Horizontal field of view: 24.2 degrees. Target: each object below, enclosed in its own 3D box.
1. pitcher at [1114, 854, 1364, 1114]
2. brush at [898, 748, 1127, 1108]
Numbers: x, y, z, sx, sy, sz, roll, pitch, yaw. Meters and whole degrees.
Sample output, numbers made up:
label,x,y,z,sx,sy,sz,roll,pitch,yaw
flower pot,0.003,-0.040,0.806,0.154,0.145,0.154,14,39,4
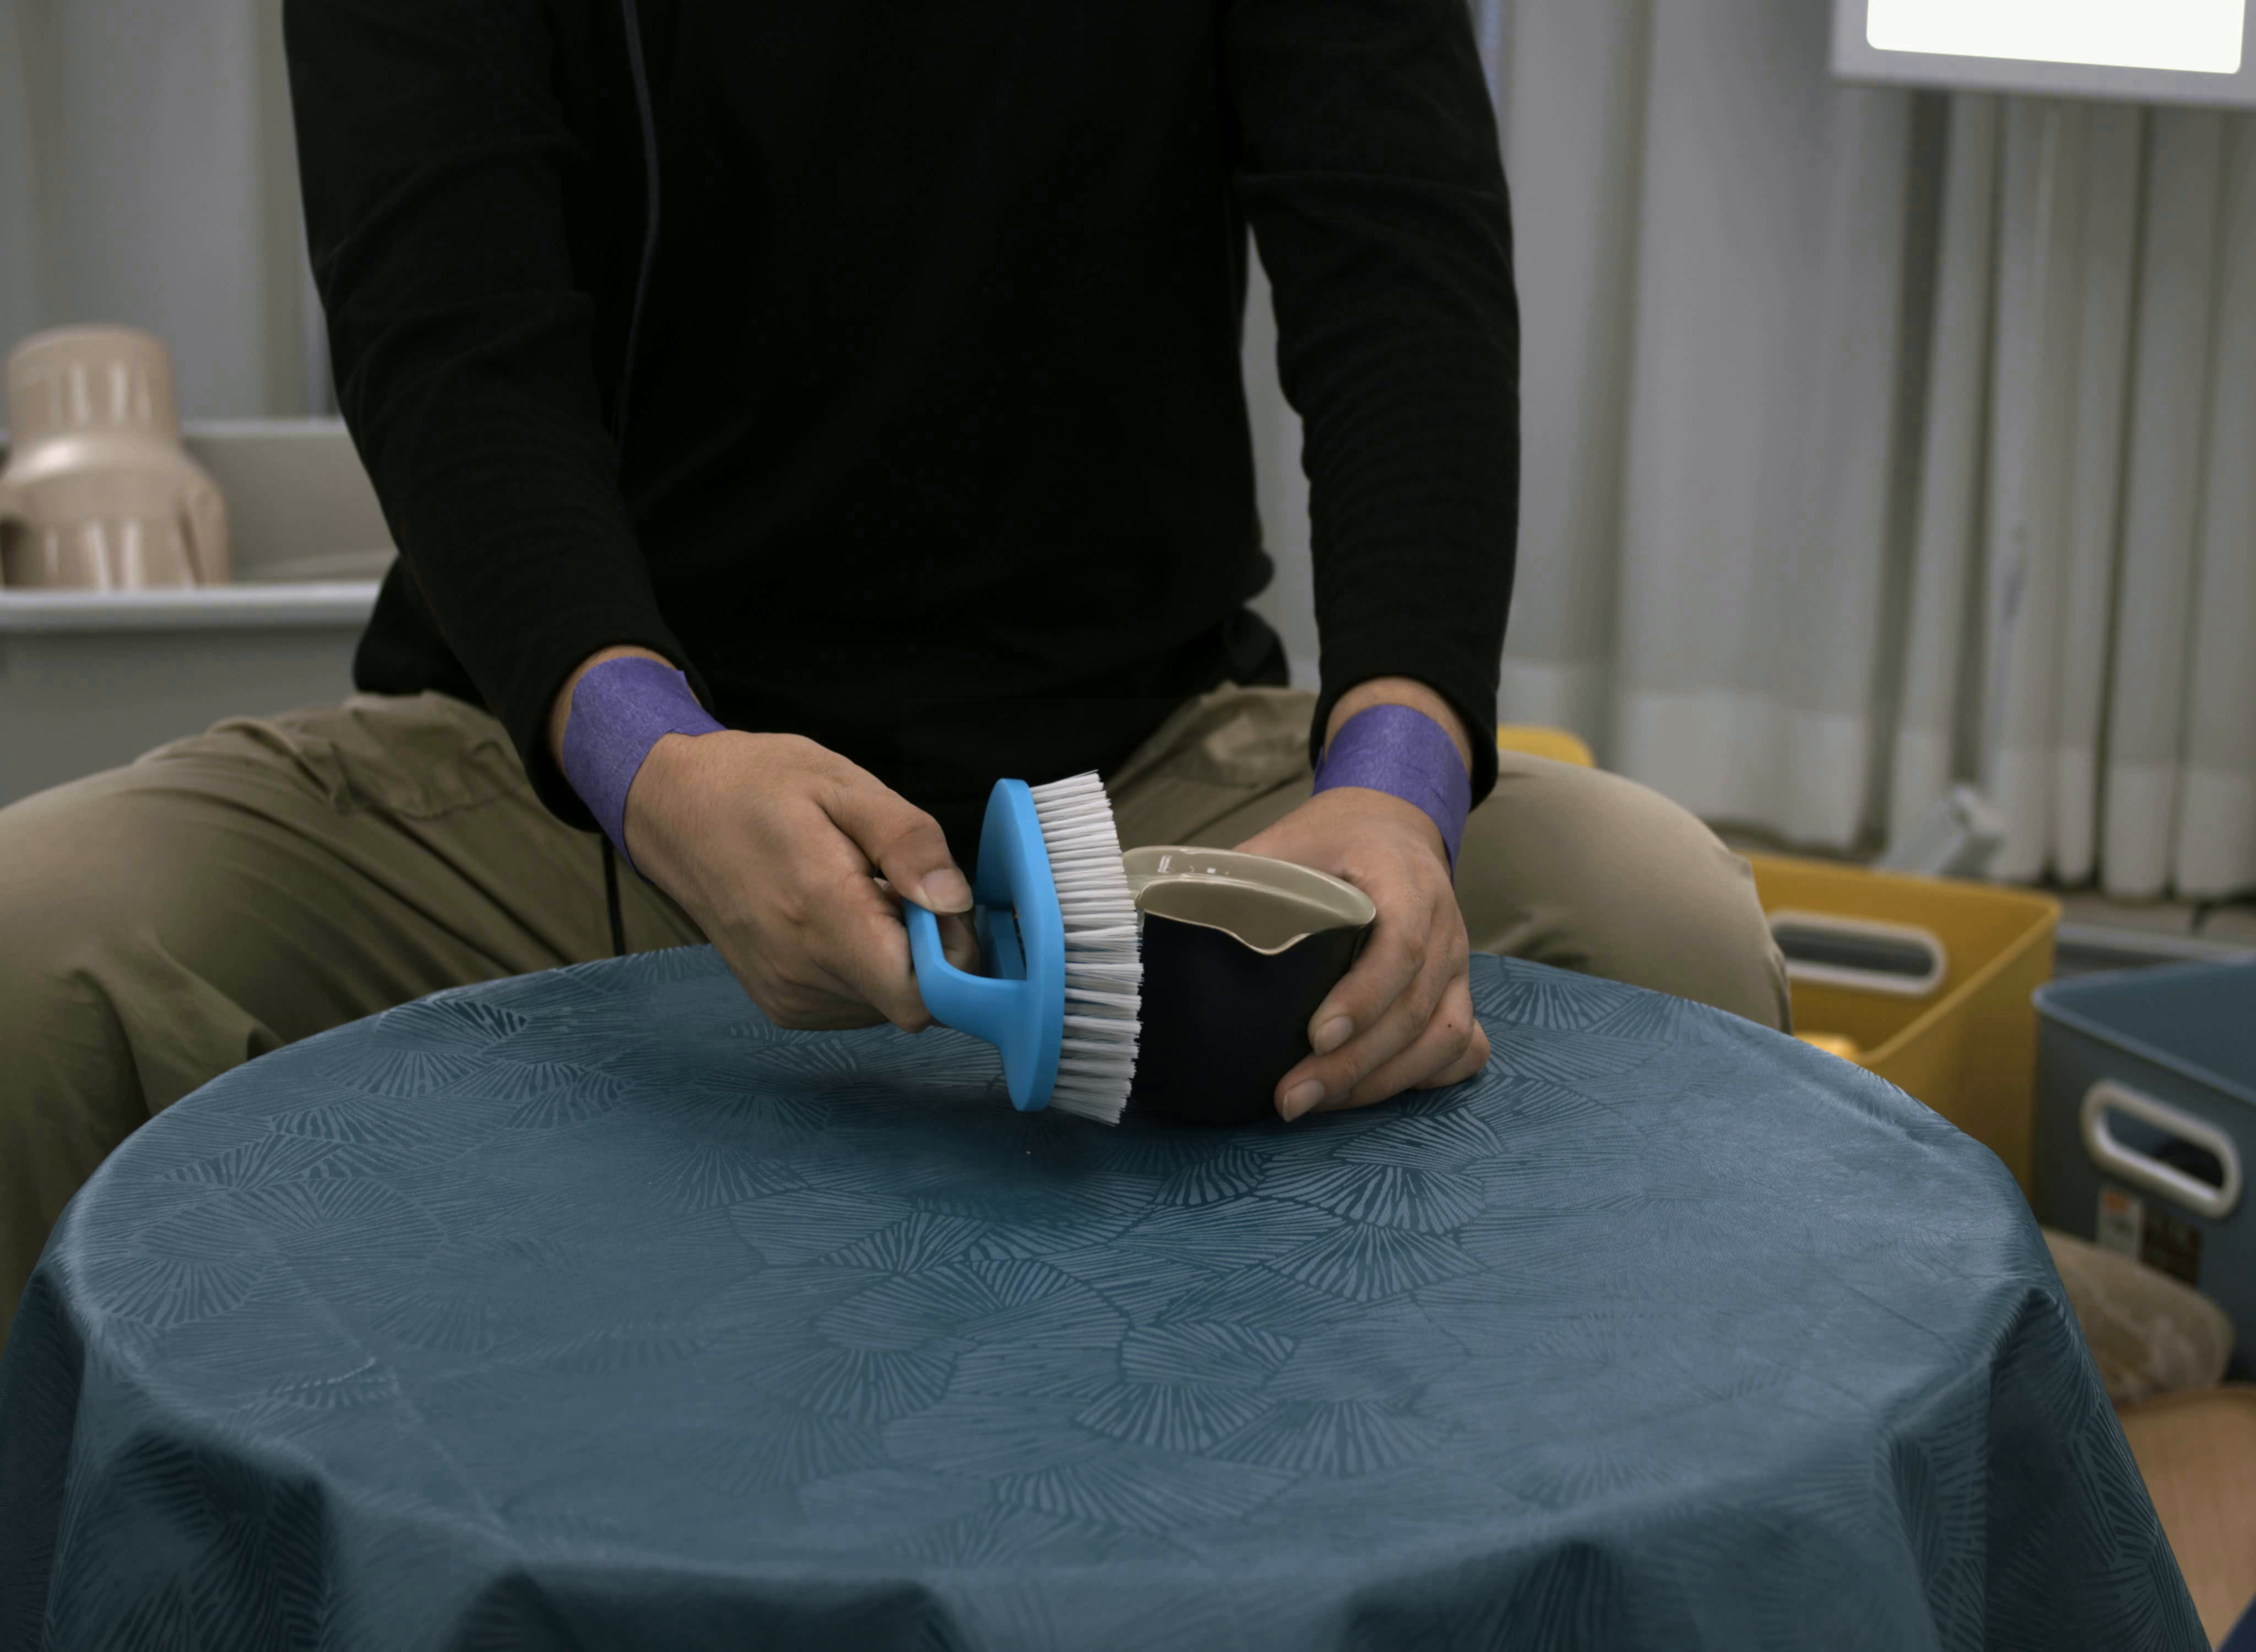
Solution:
label,x,y,z,sx,sy,sz,roll,pitch,yaw
pitcher,0.031,0.052,1.689,0.083,0.072,0.095,7,17,-8
brush,-0.039,0.033,1.662,0.064,0.085,0.140,0,32,-8
